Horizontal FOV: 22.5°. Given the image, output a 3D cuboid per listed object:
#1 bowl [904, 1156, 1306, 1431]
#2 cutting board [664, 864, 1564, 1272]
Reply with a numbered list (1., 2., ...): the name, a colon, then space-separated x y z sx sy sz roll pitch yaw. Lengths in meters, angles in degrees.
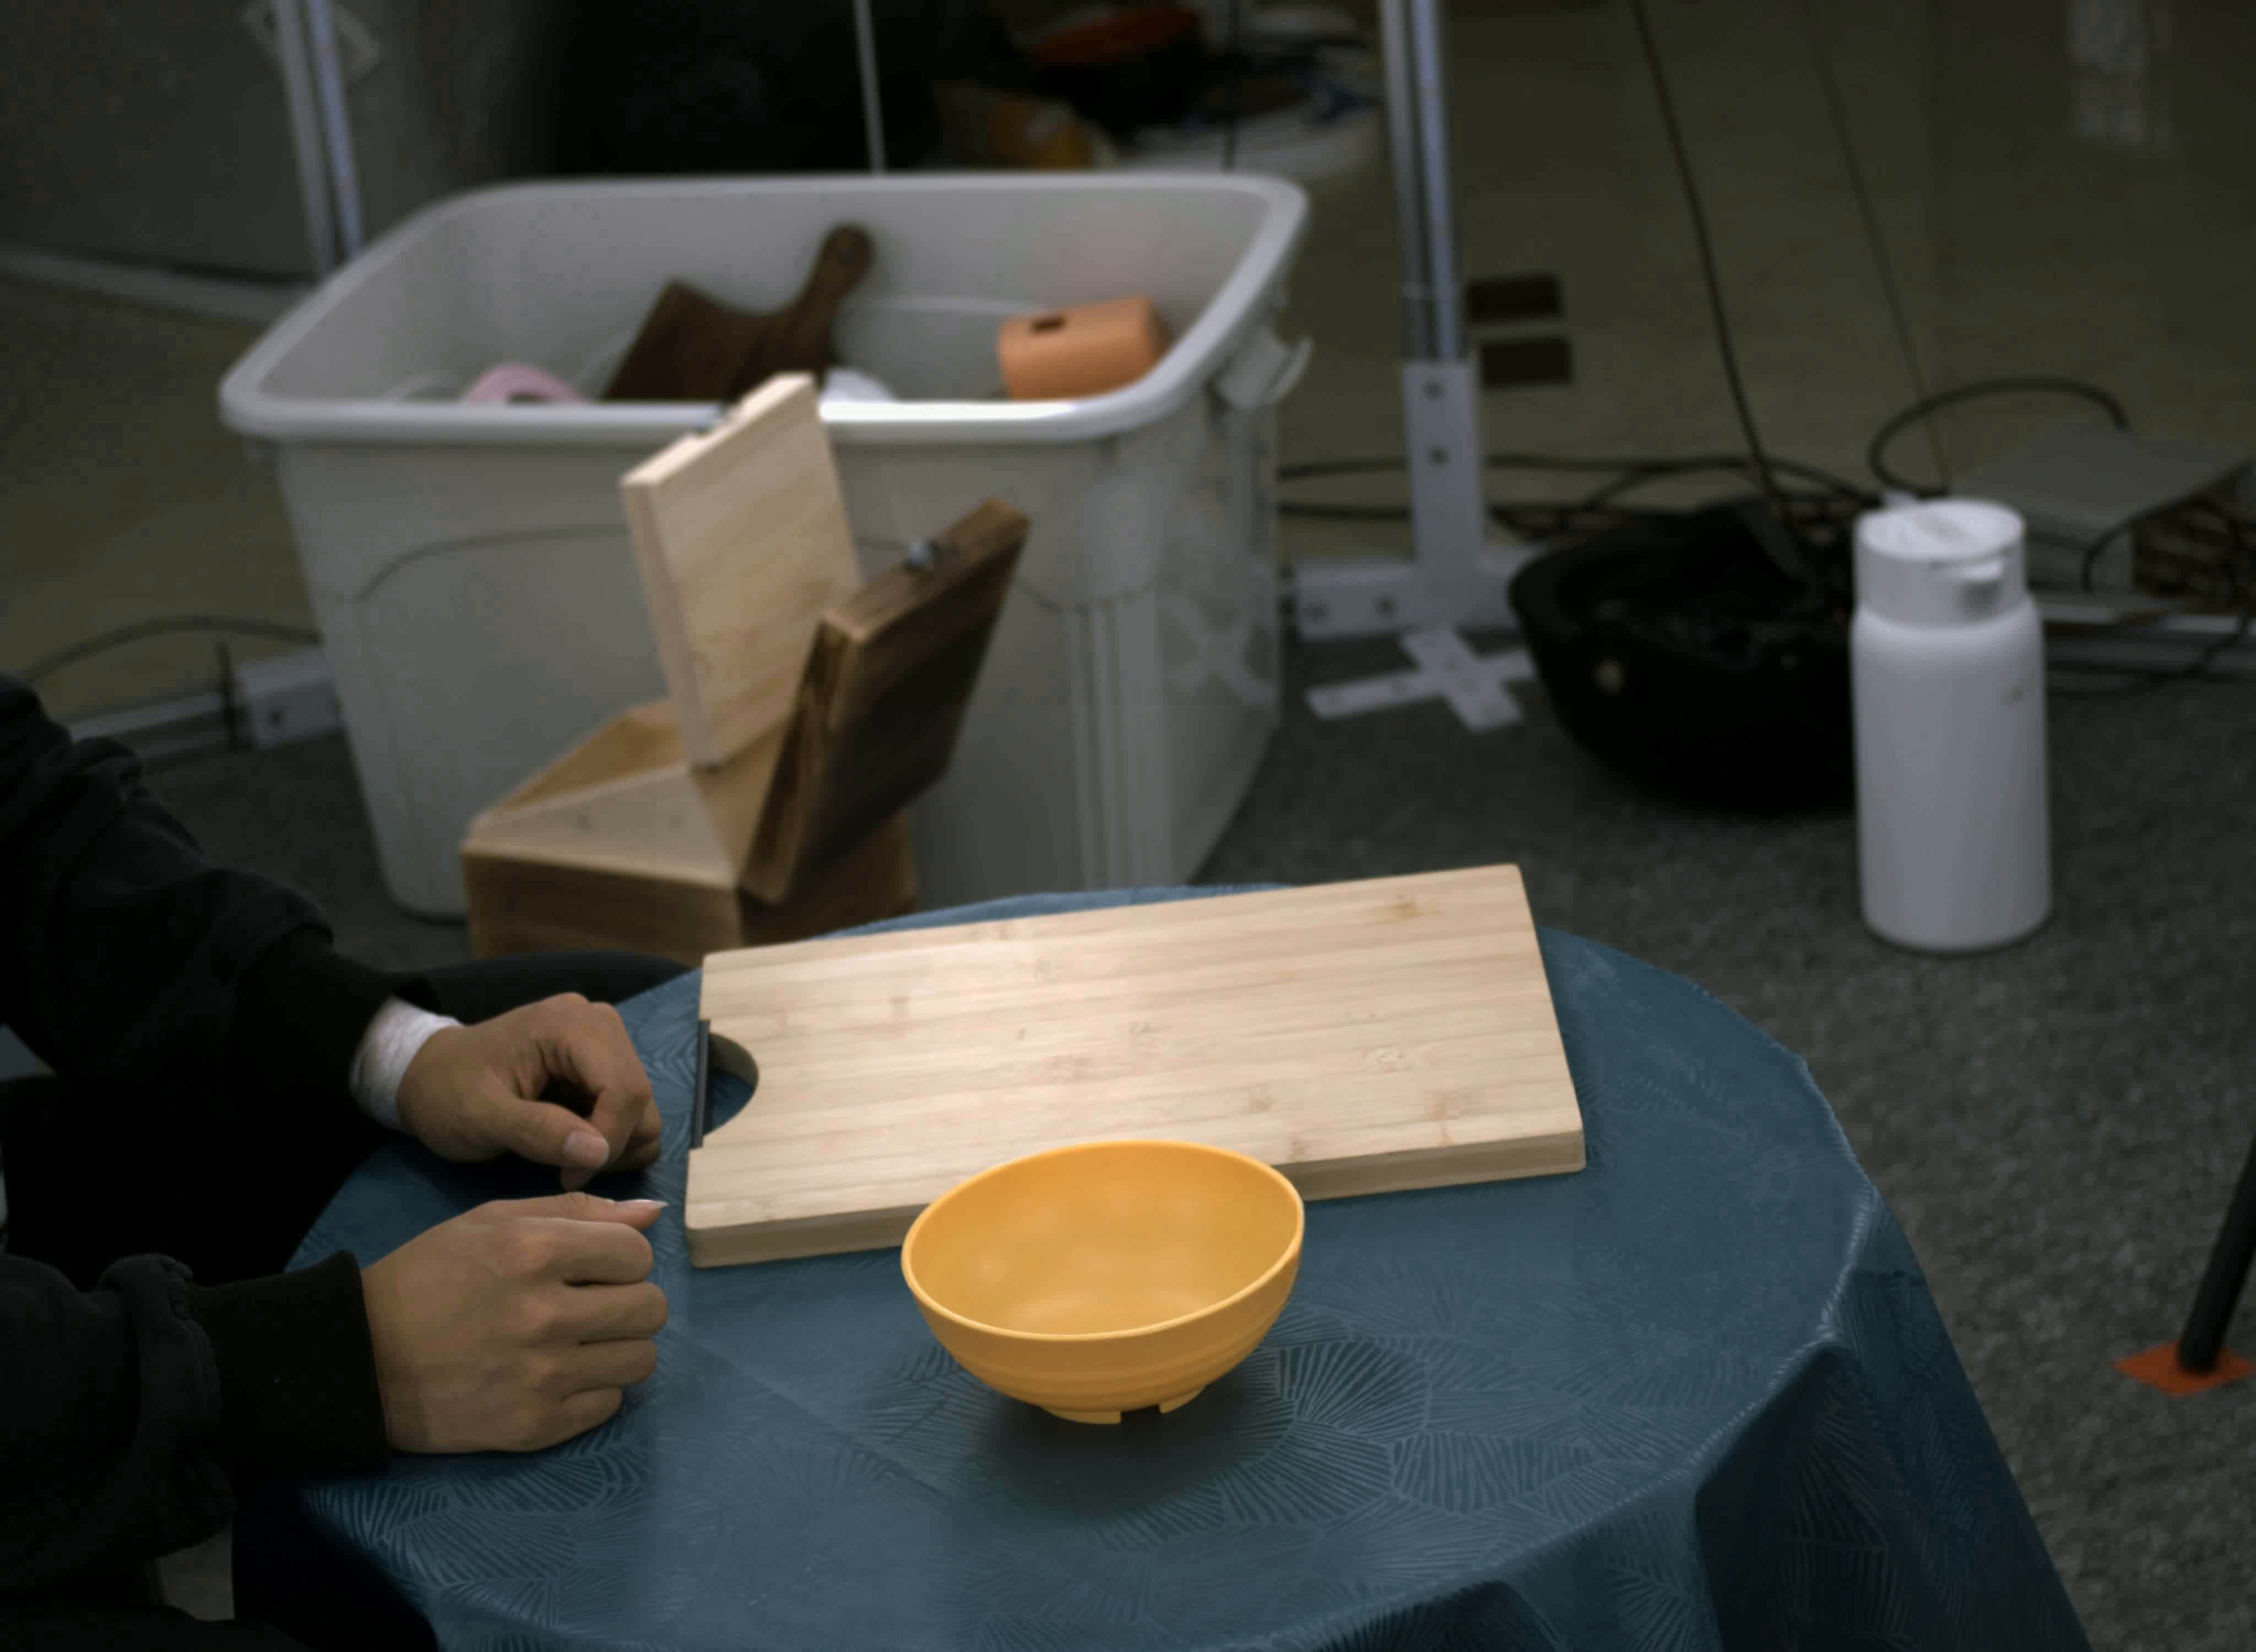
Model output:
1. bowl: -0.005 0.173 2.014 0.145 0.061 0.143 -7 22 3
2. cutting board: -0.007 0.093 2.235 0.348 0.024 0.247 -7 25 0
